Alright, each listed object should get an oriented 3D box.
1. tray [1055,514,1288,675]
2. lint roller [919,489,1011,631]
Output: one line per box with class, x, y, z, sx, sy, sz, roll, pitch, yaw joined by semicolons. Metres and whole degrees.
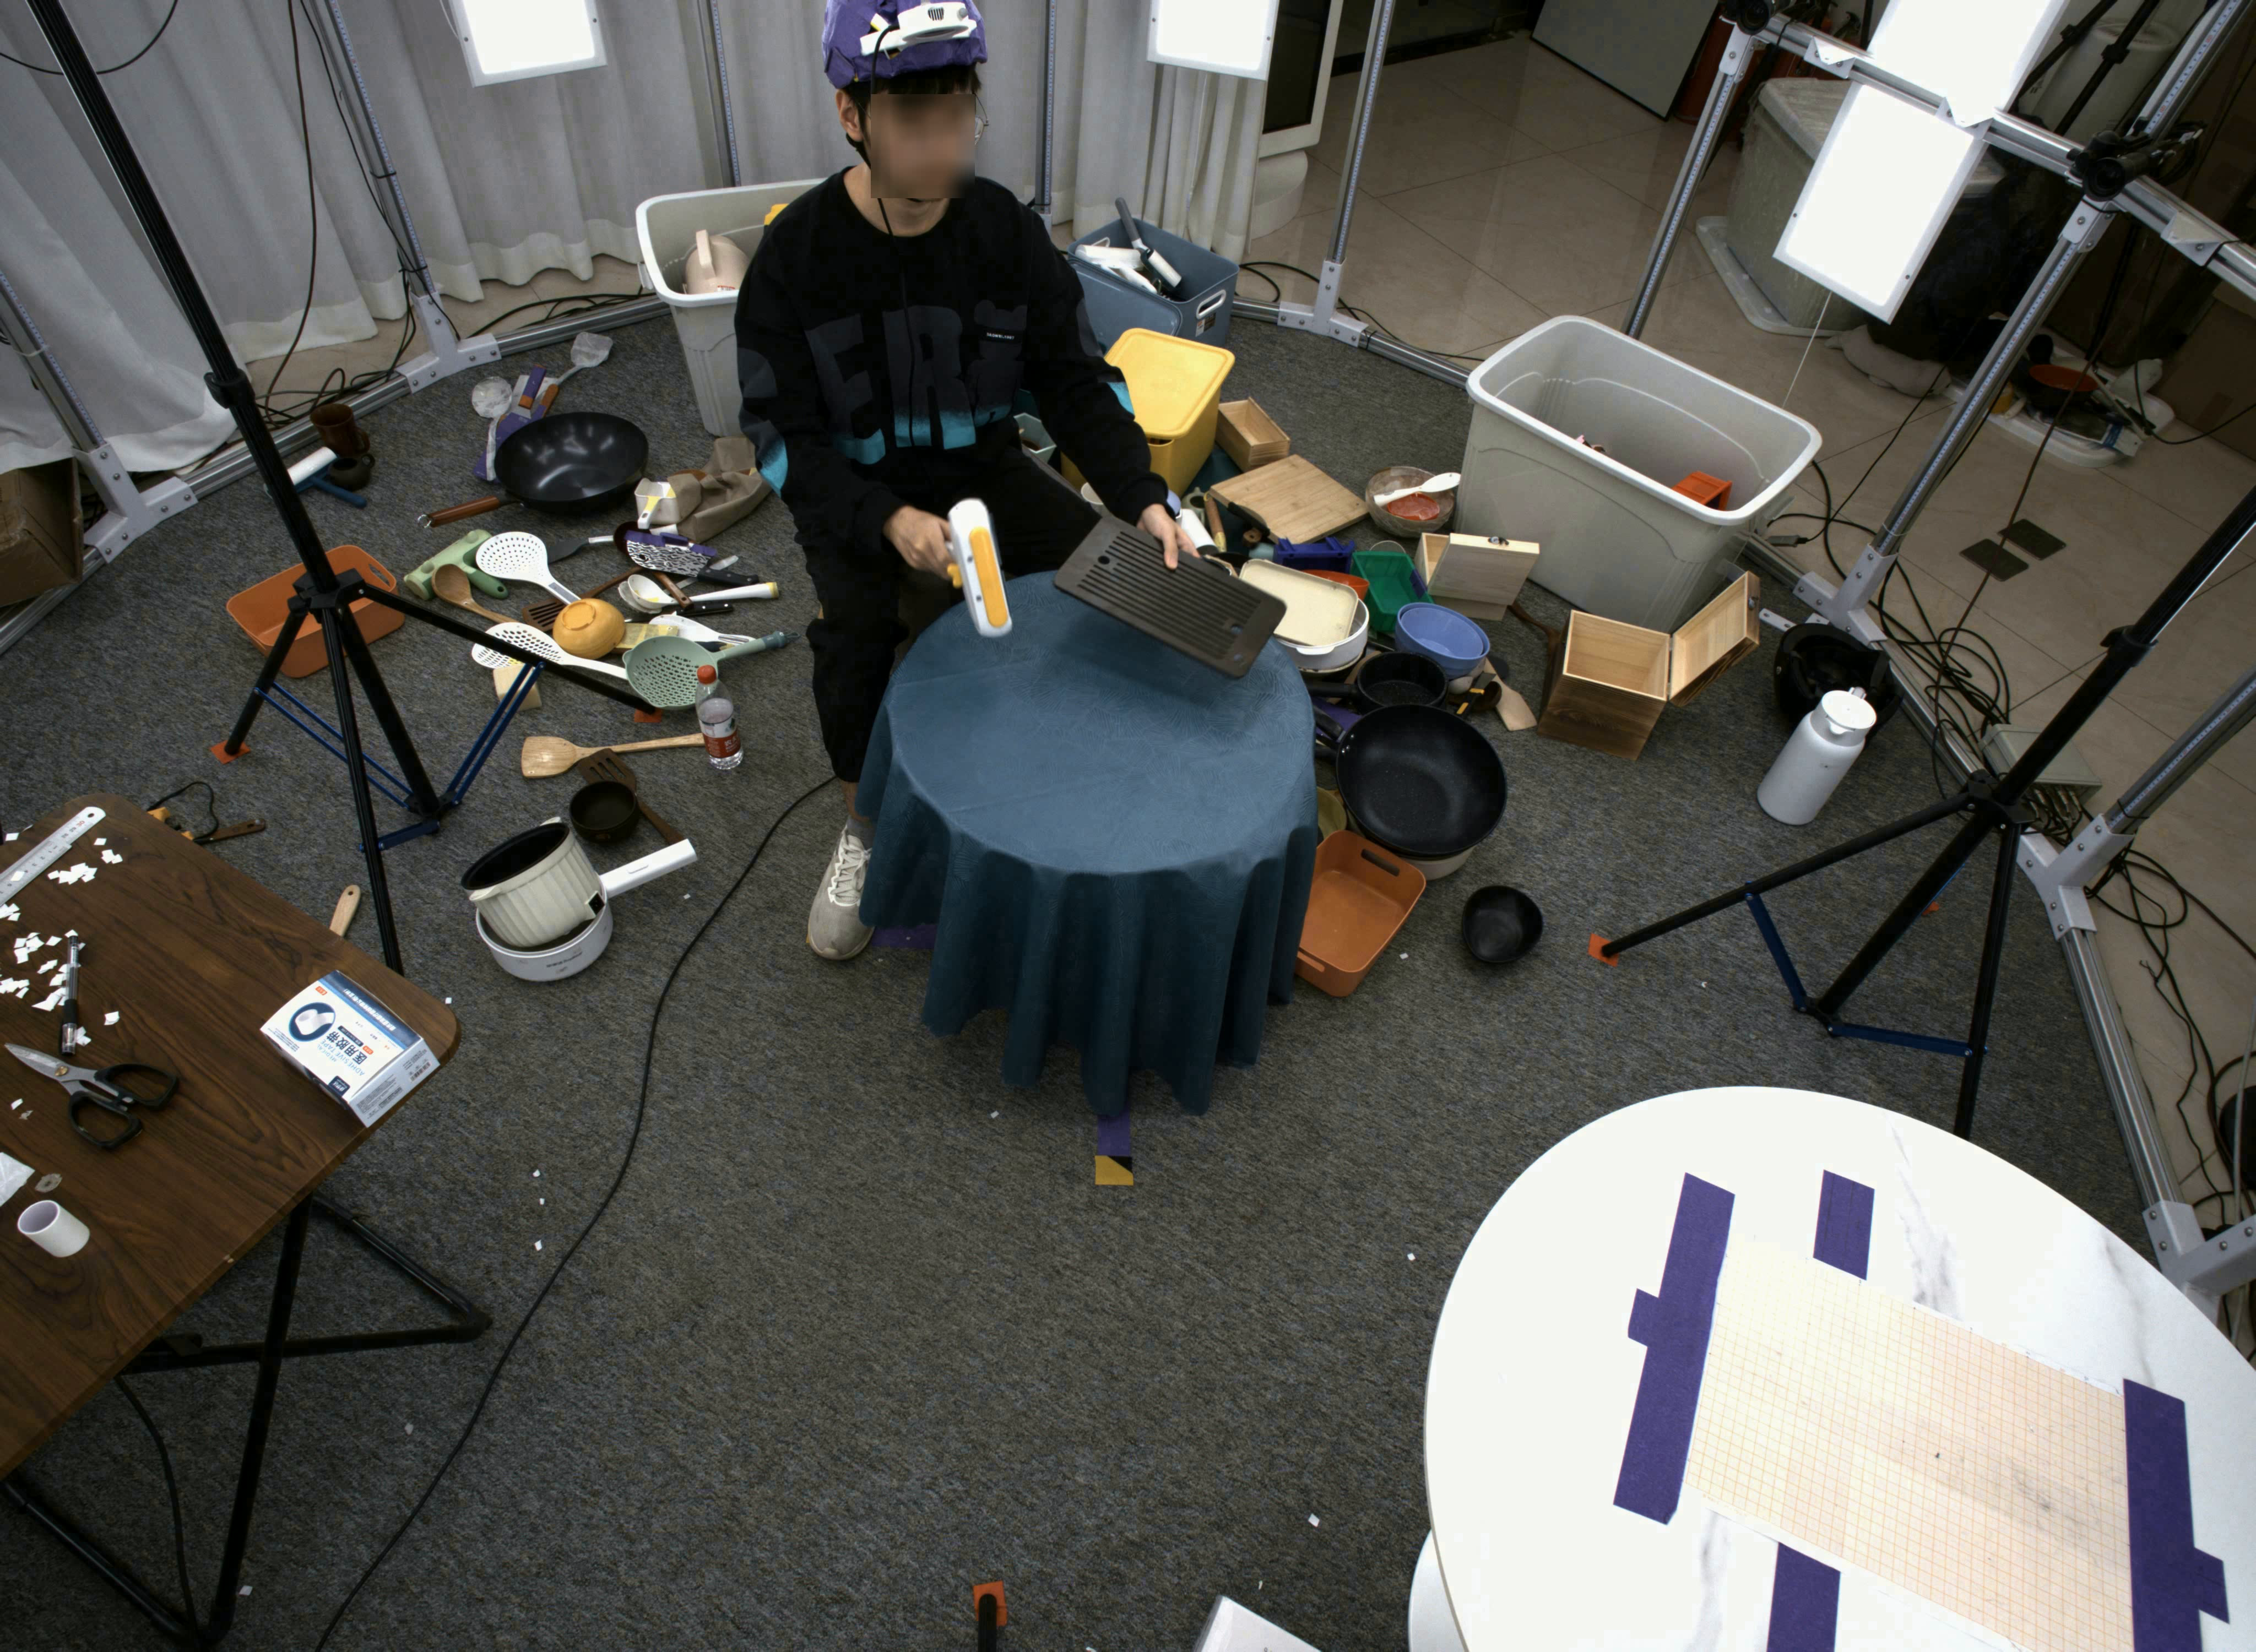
tray;0.063;-0.331;1.831;0.307;0.018;0.173;27;55;9
lint roller;-0.233;-0.376;1.789;0.074;0.189;0.196;-24;31;-16
